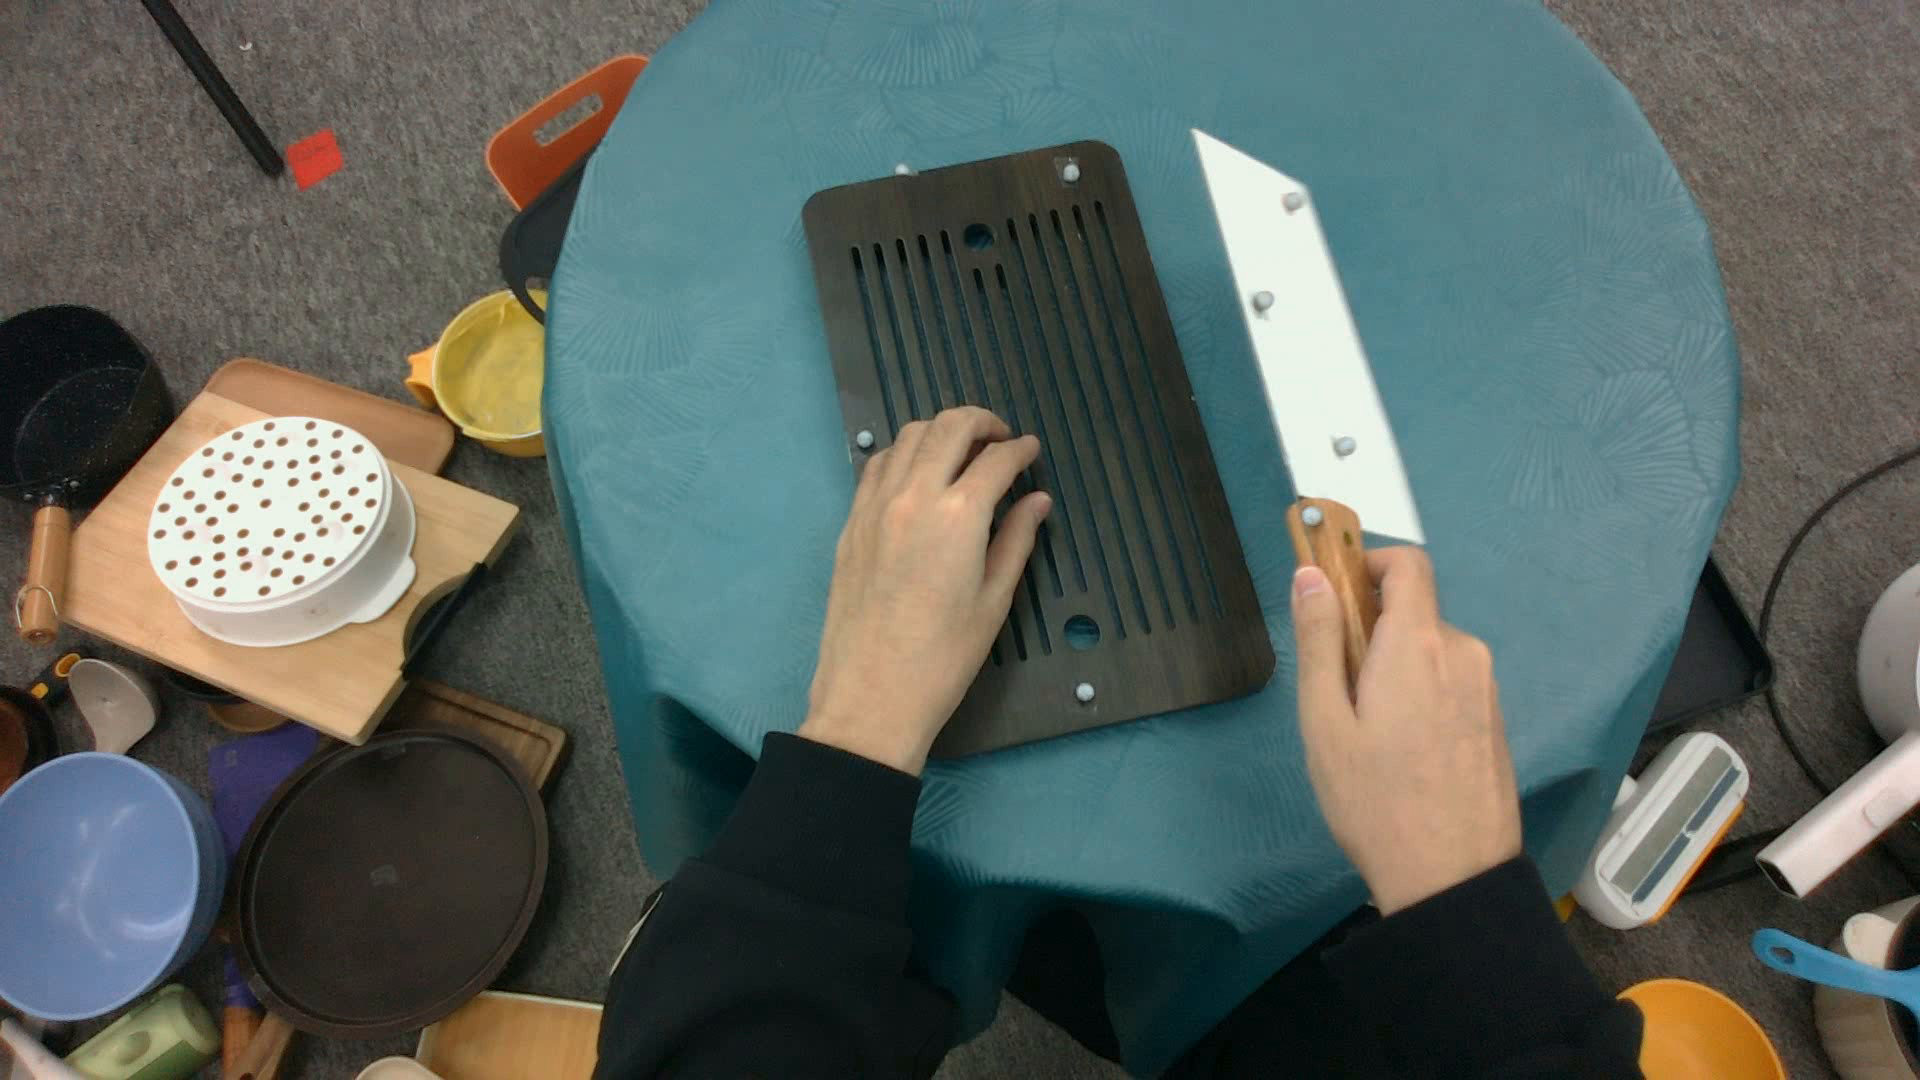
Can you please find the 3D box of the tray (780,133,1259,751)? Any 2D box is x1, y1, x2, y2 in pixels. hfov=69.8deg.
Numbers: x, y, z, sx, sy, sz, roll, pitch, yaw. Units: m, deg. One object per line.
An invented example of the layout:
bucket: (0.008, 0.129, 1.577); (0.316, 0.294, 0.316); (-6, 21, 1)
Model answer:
tray: (0.021, -0.059, 0.666); (0.170, 0.018, 0.306); (-11, 69, -5)

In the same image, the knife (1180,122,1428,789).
knife: (0.156, -0.045, 0.590); (0.093, 0.021, 0.306); (9, 62, -43)
